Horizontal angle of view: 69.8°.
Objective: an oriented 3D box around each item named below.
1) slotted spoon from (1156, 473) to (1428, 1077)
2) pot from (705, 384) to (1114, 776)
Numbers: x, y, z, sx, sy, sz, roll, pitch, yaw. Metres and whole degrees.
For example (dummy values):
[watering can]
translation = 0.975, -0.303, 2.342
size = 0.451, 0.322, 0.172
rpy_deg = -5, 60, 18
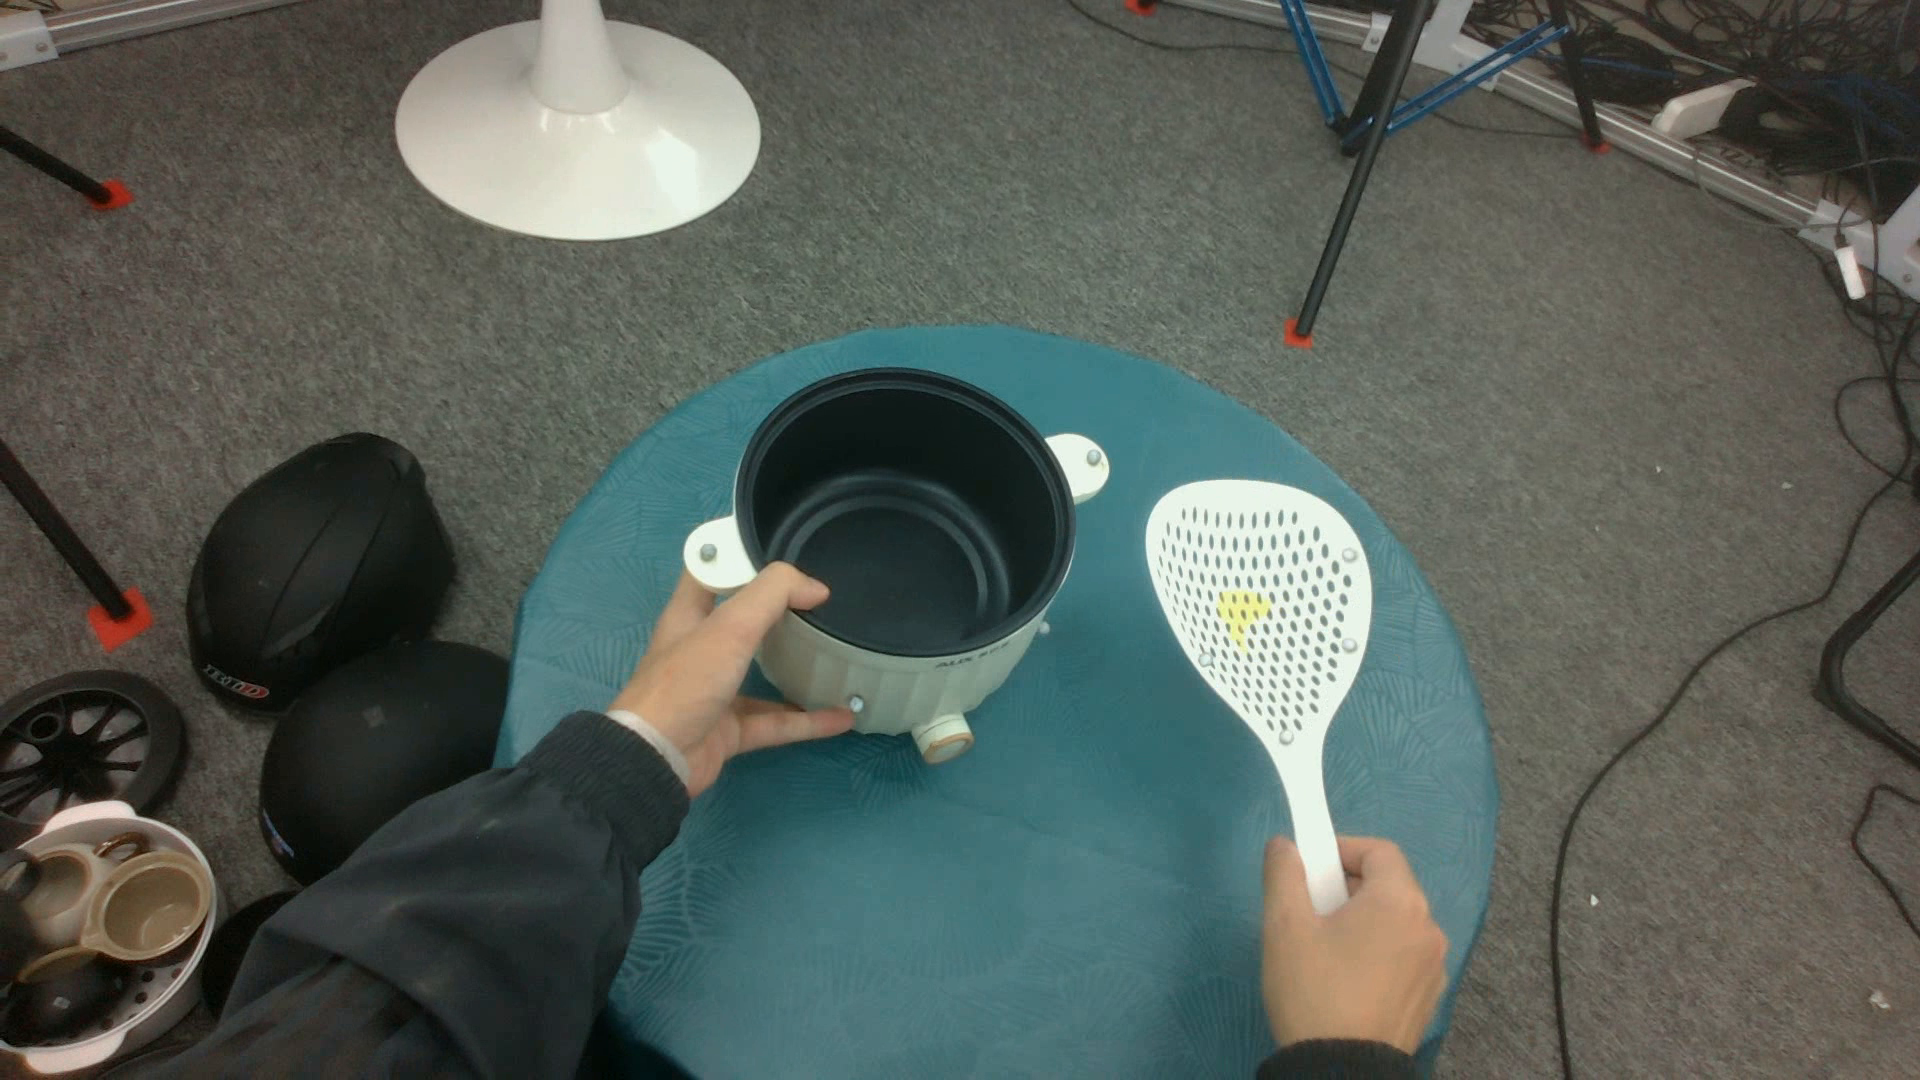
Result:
[slotted spoon]
translation = 0.194, 0.109, 0.755
size = 0.137, 0.050, 0.349
rpy_deg = -2, 52, -9
[pot]
translation = -0.026, 0.028, 0.786
size = 0.241, 0.142, 0.191
rpy_deg = -19, 59, -20
